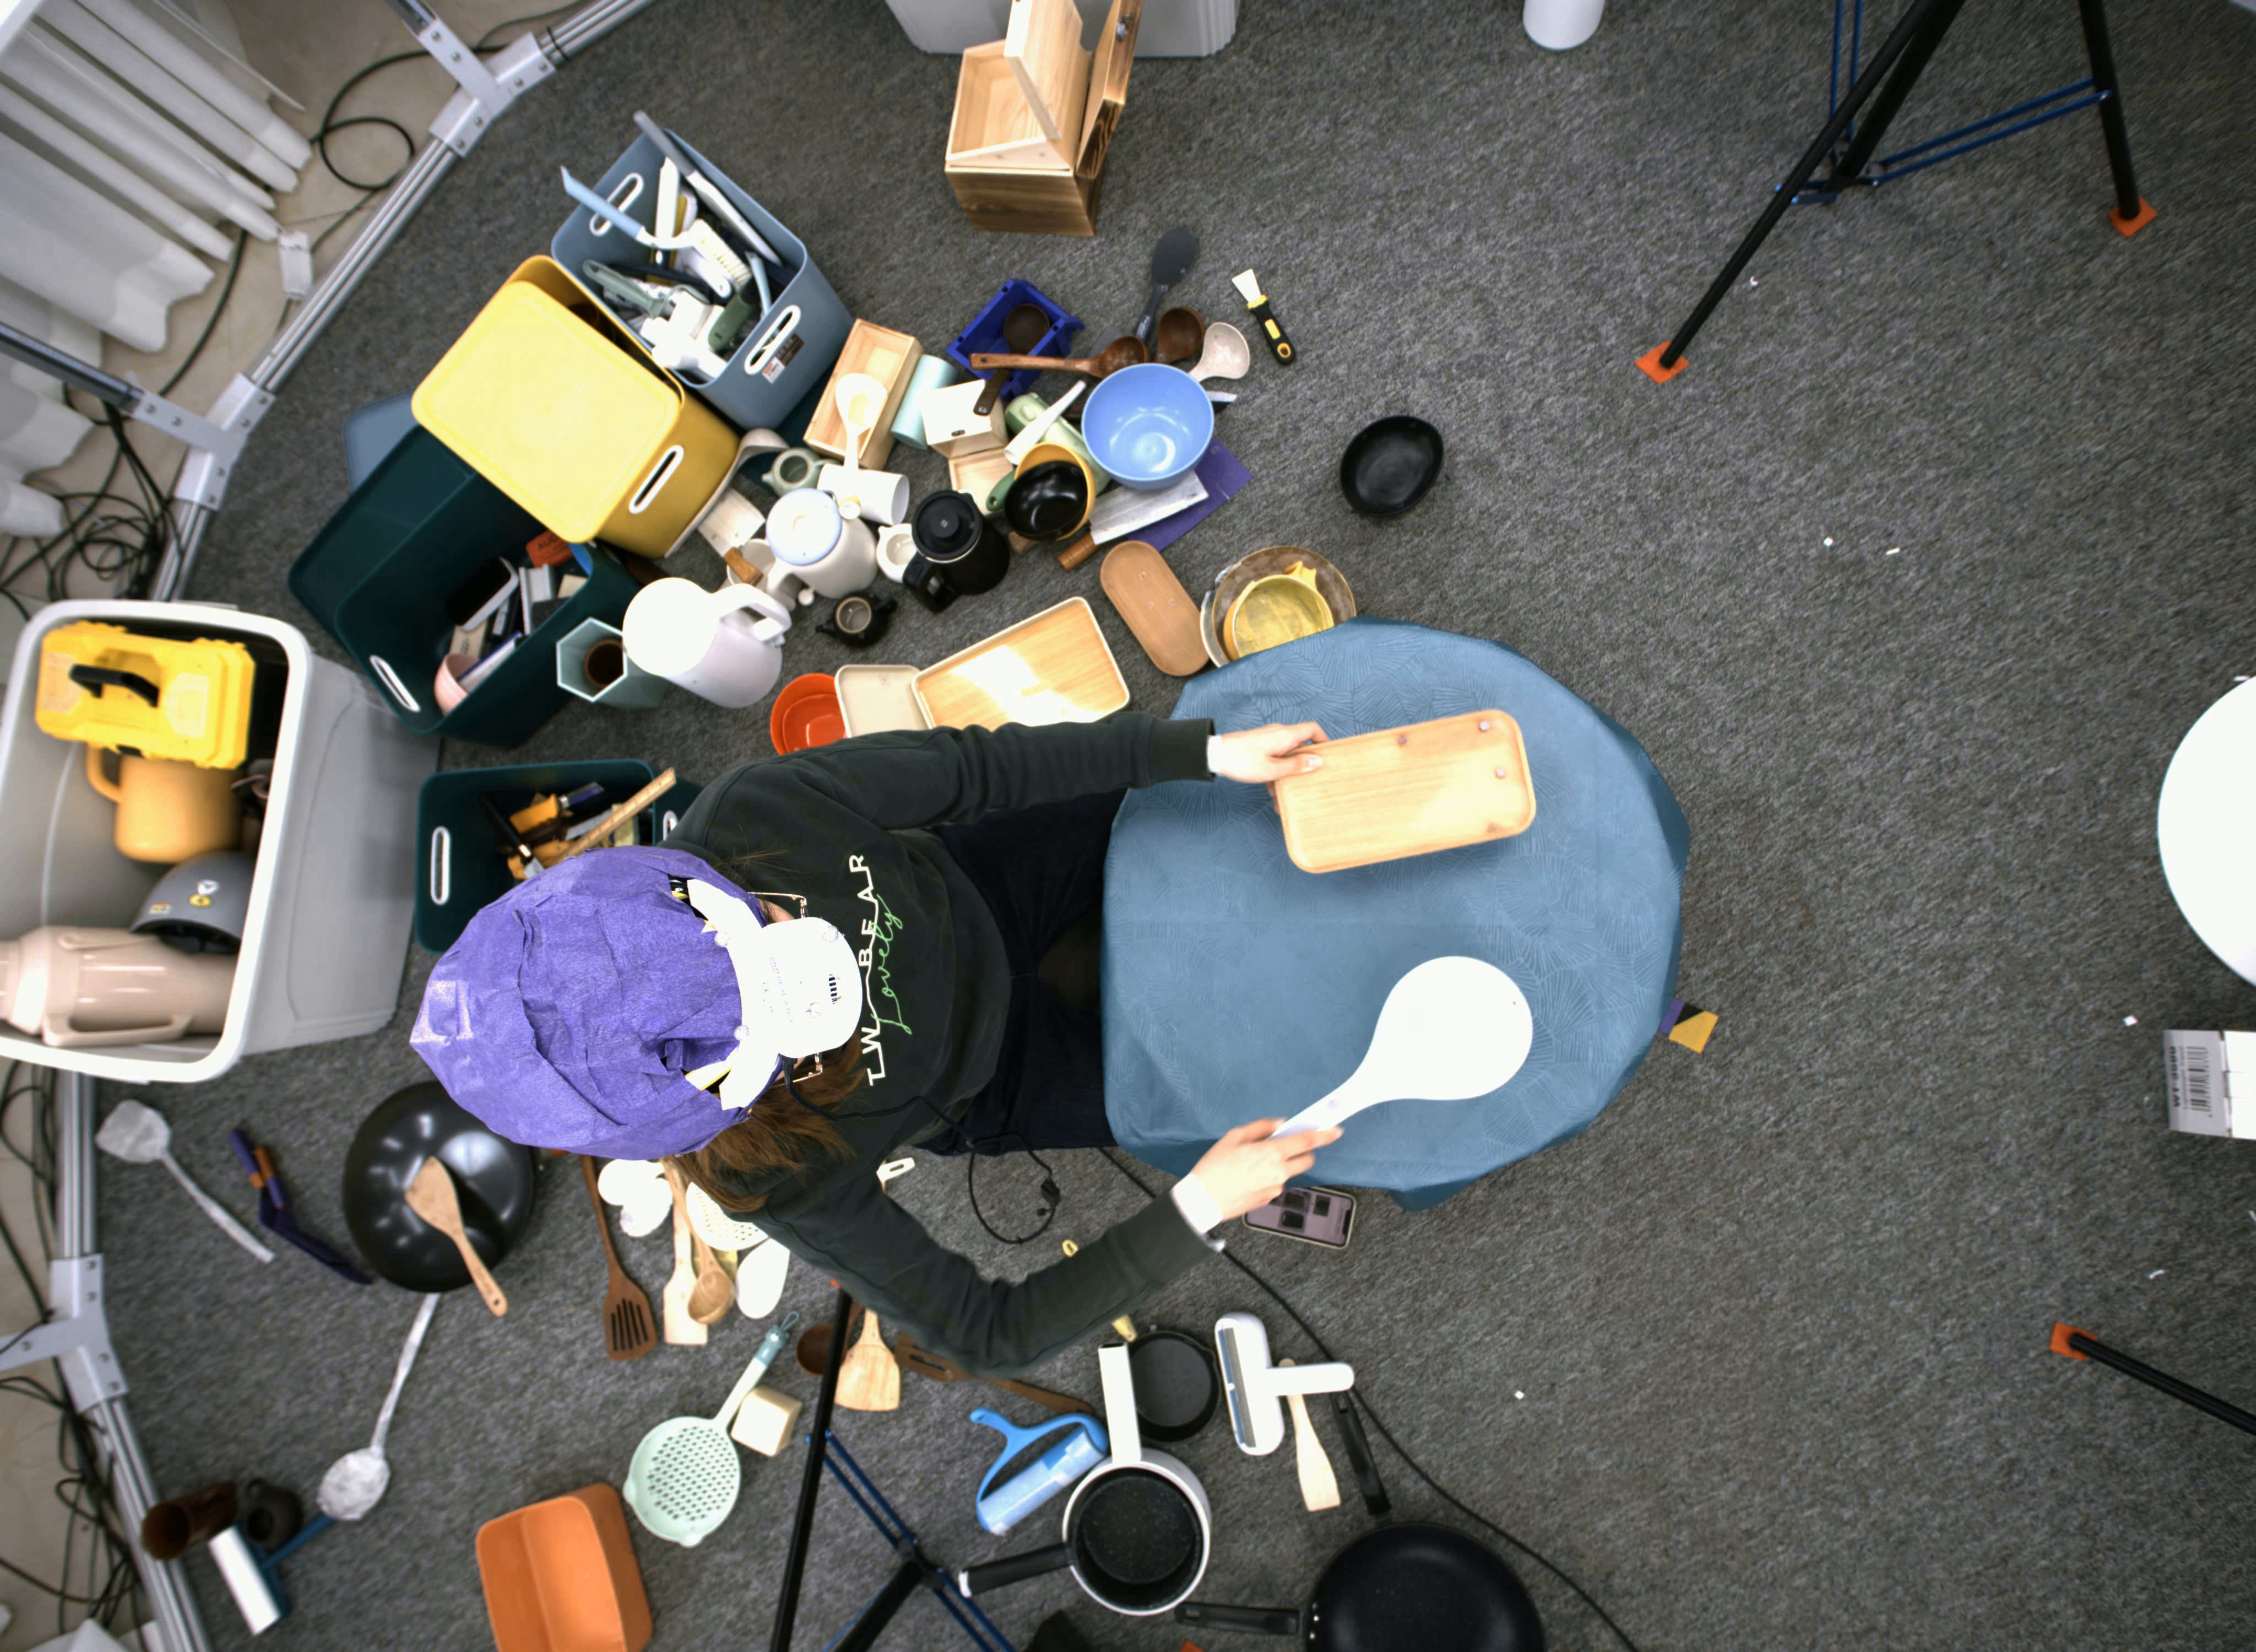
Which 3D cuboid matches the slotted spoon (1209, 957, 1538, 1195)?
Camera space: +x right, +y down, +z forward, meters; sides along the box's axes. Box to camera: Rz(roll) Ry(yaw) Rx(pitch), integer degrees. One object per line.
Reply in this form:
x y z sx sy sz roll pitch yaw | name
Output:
0.230 0.245 1.308 0.348 0.046 0.134 -29 64 -10 | slotted spoon

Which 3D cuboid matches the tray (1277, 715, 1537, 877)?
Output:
0.278 -0.031 1.376 0.251 0.023 0.130 -10 87 3 | tray
